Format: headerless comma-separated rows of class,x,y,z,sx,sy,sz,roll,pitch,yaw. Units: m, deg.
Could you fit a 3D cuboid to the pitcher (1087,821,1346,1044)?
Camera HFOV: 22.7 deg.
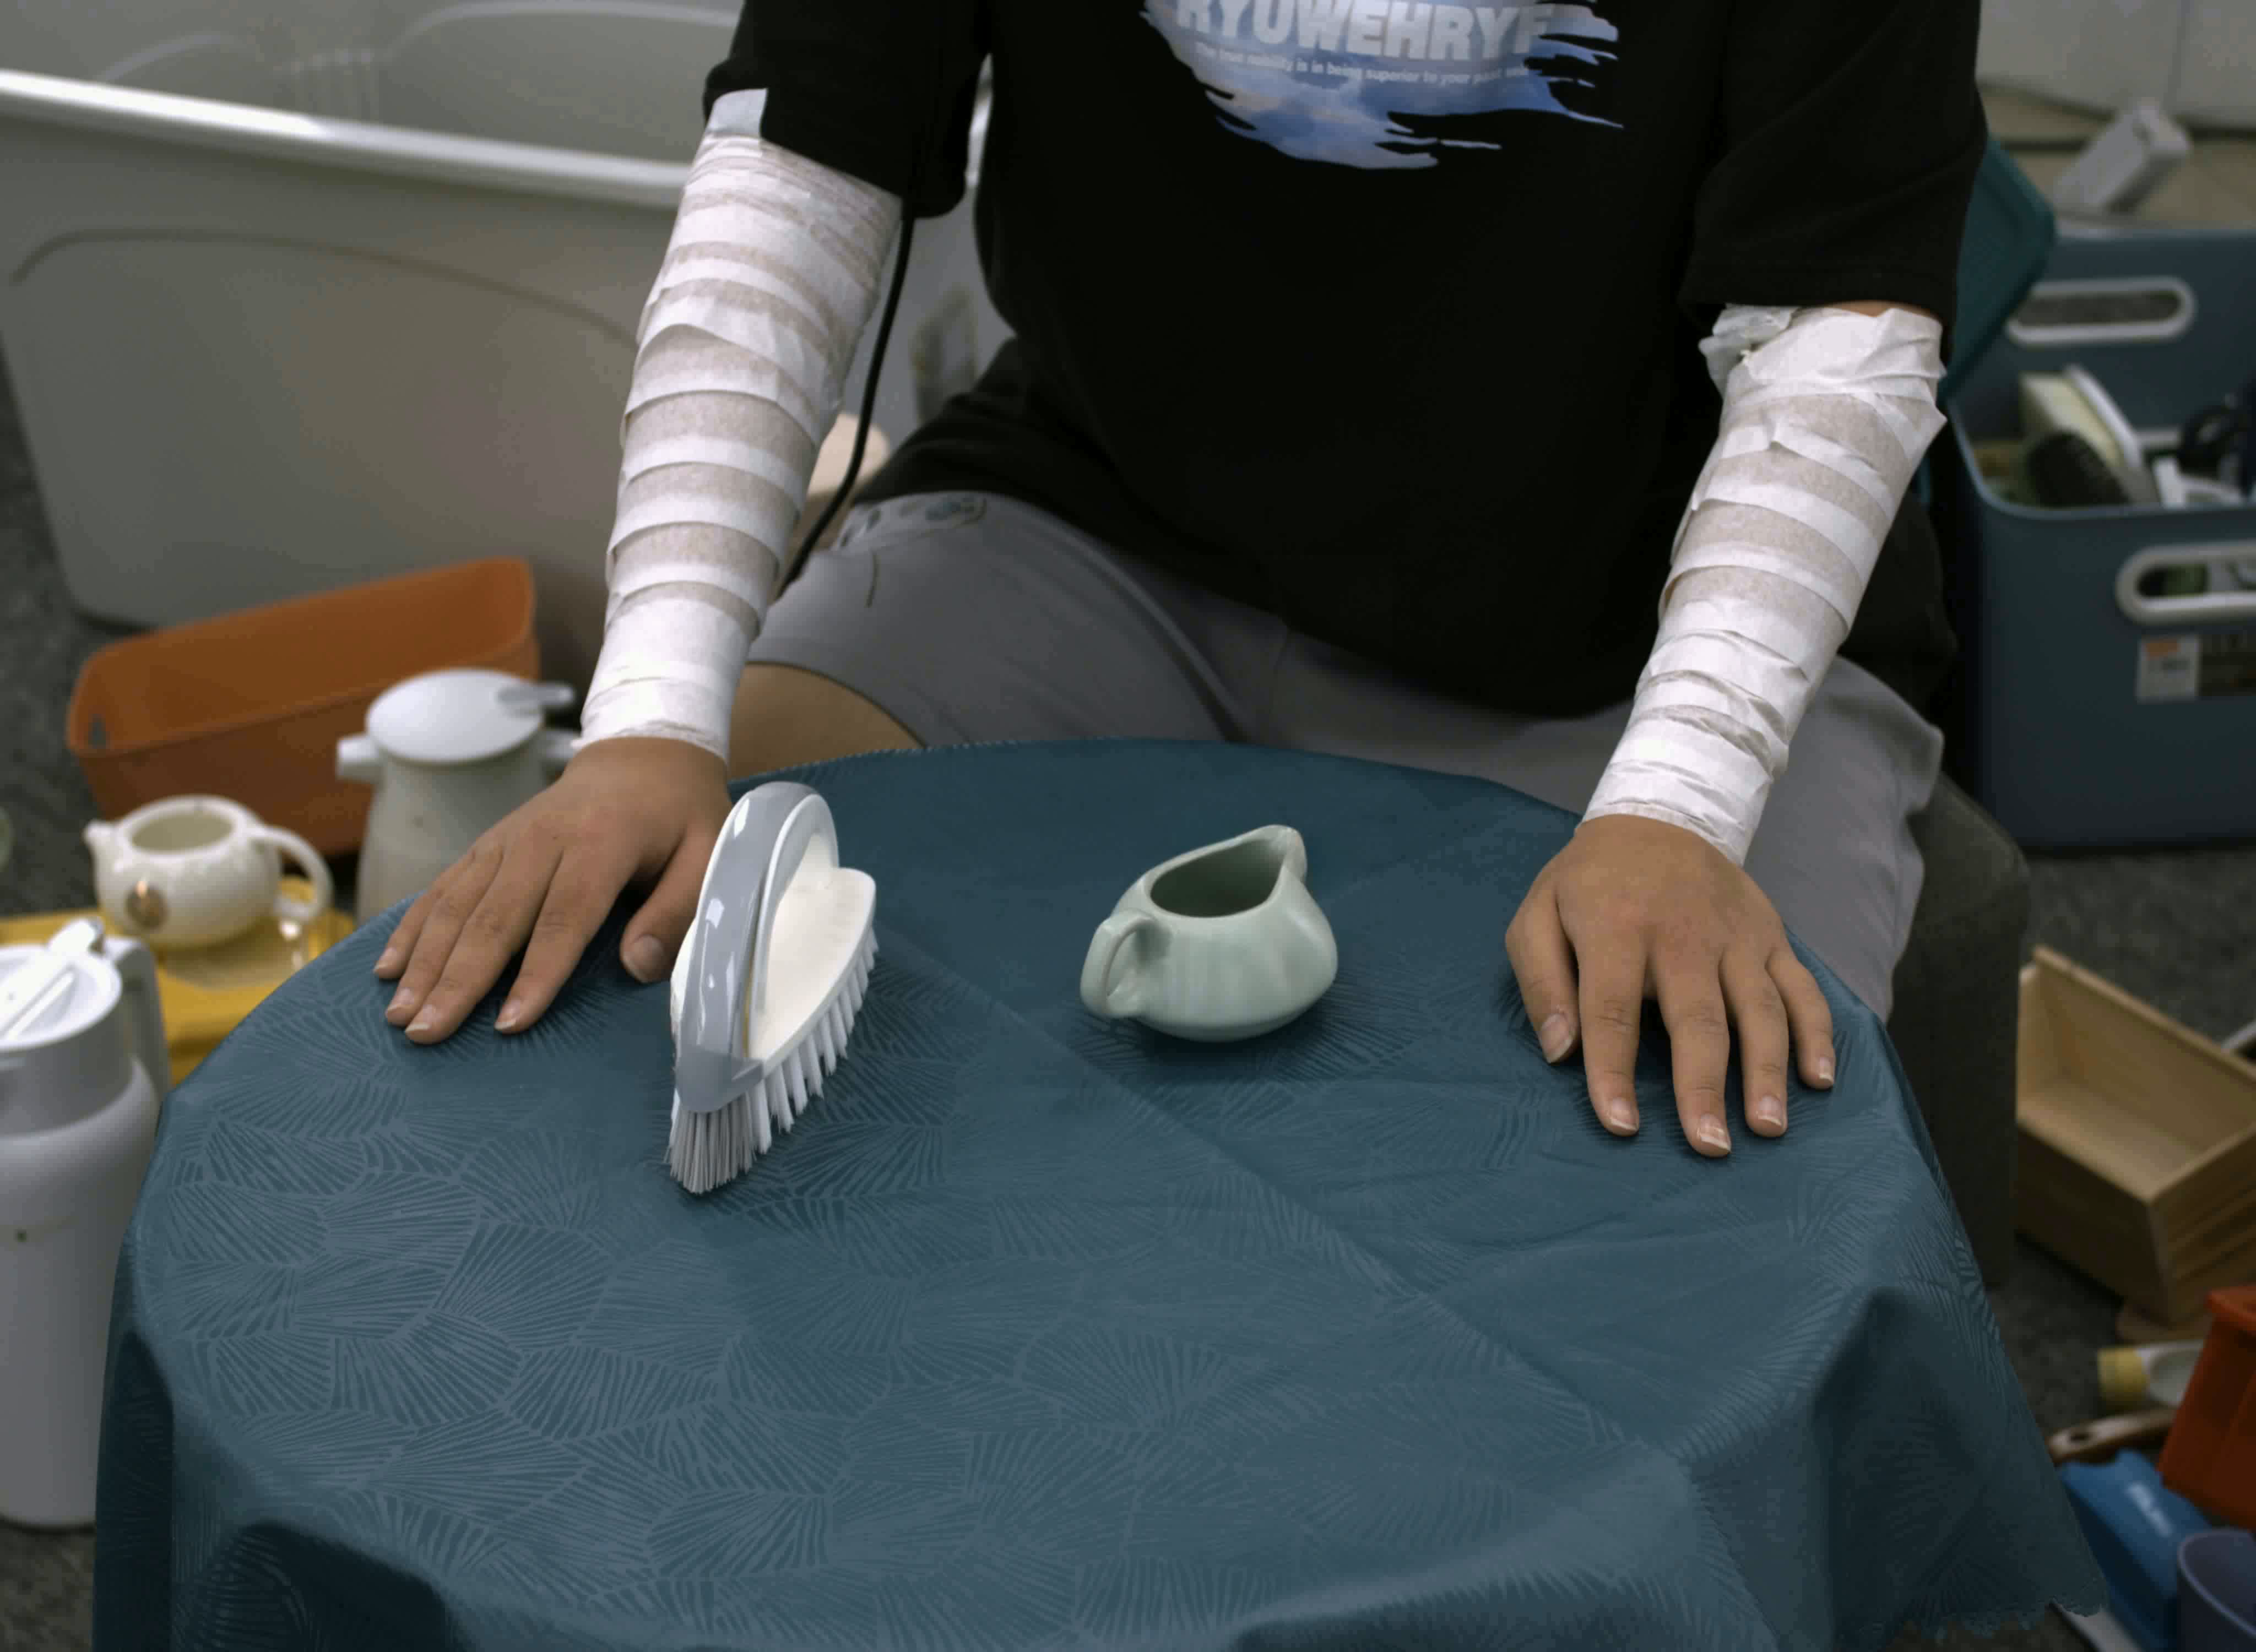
pitcher,0.025,0.044,1.949,0.085,0.060,0.109,17,35,36

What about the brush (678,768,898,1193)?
brush,-0.126,0.045,1.925,0.061,0.093,0.178,-2,28,13
